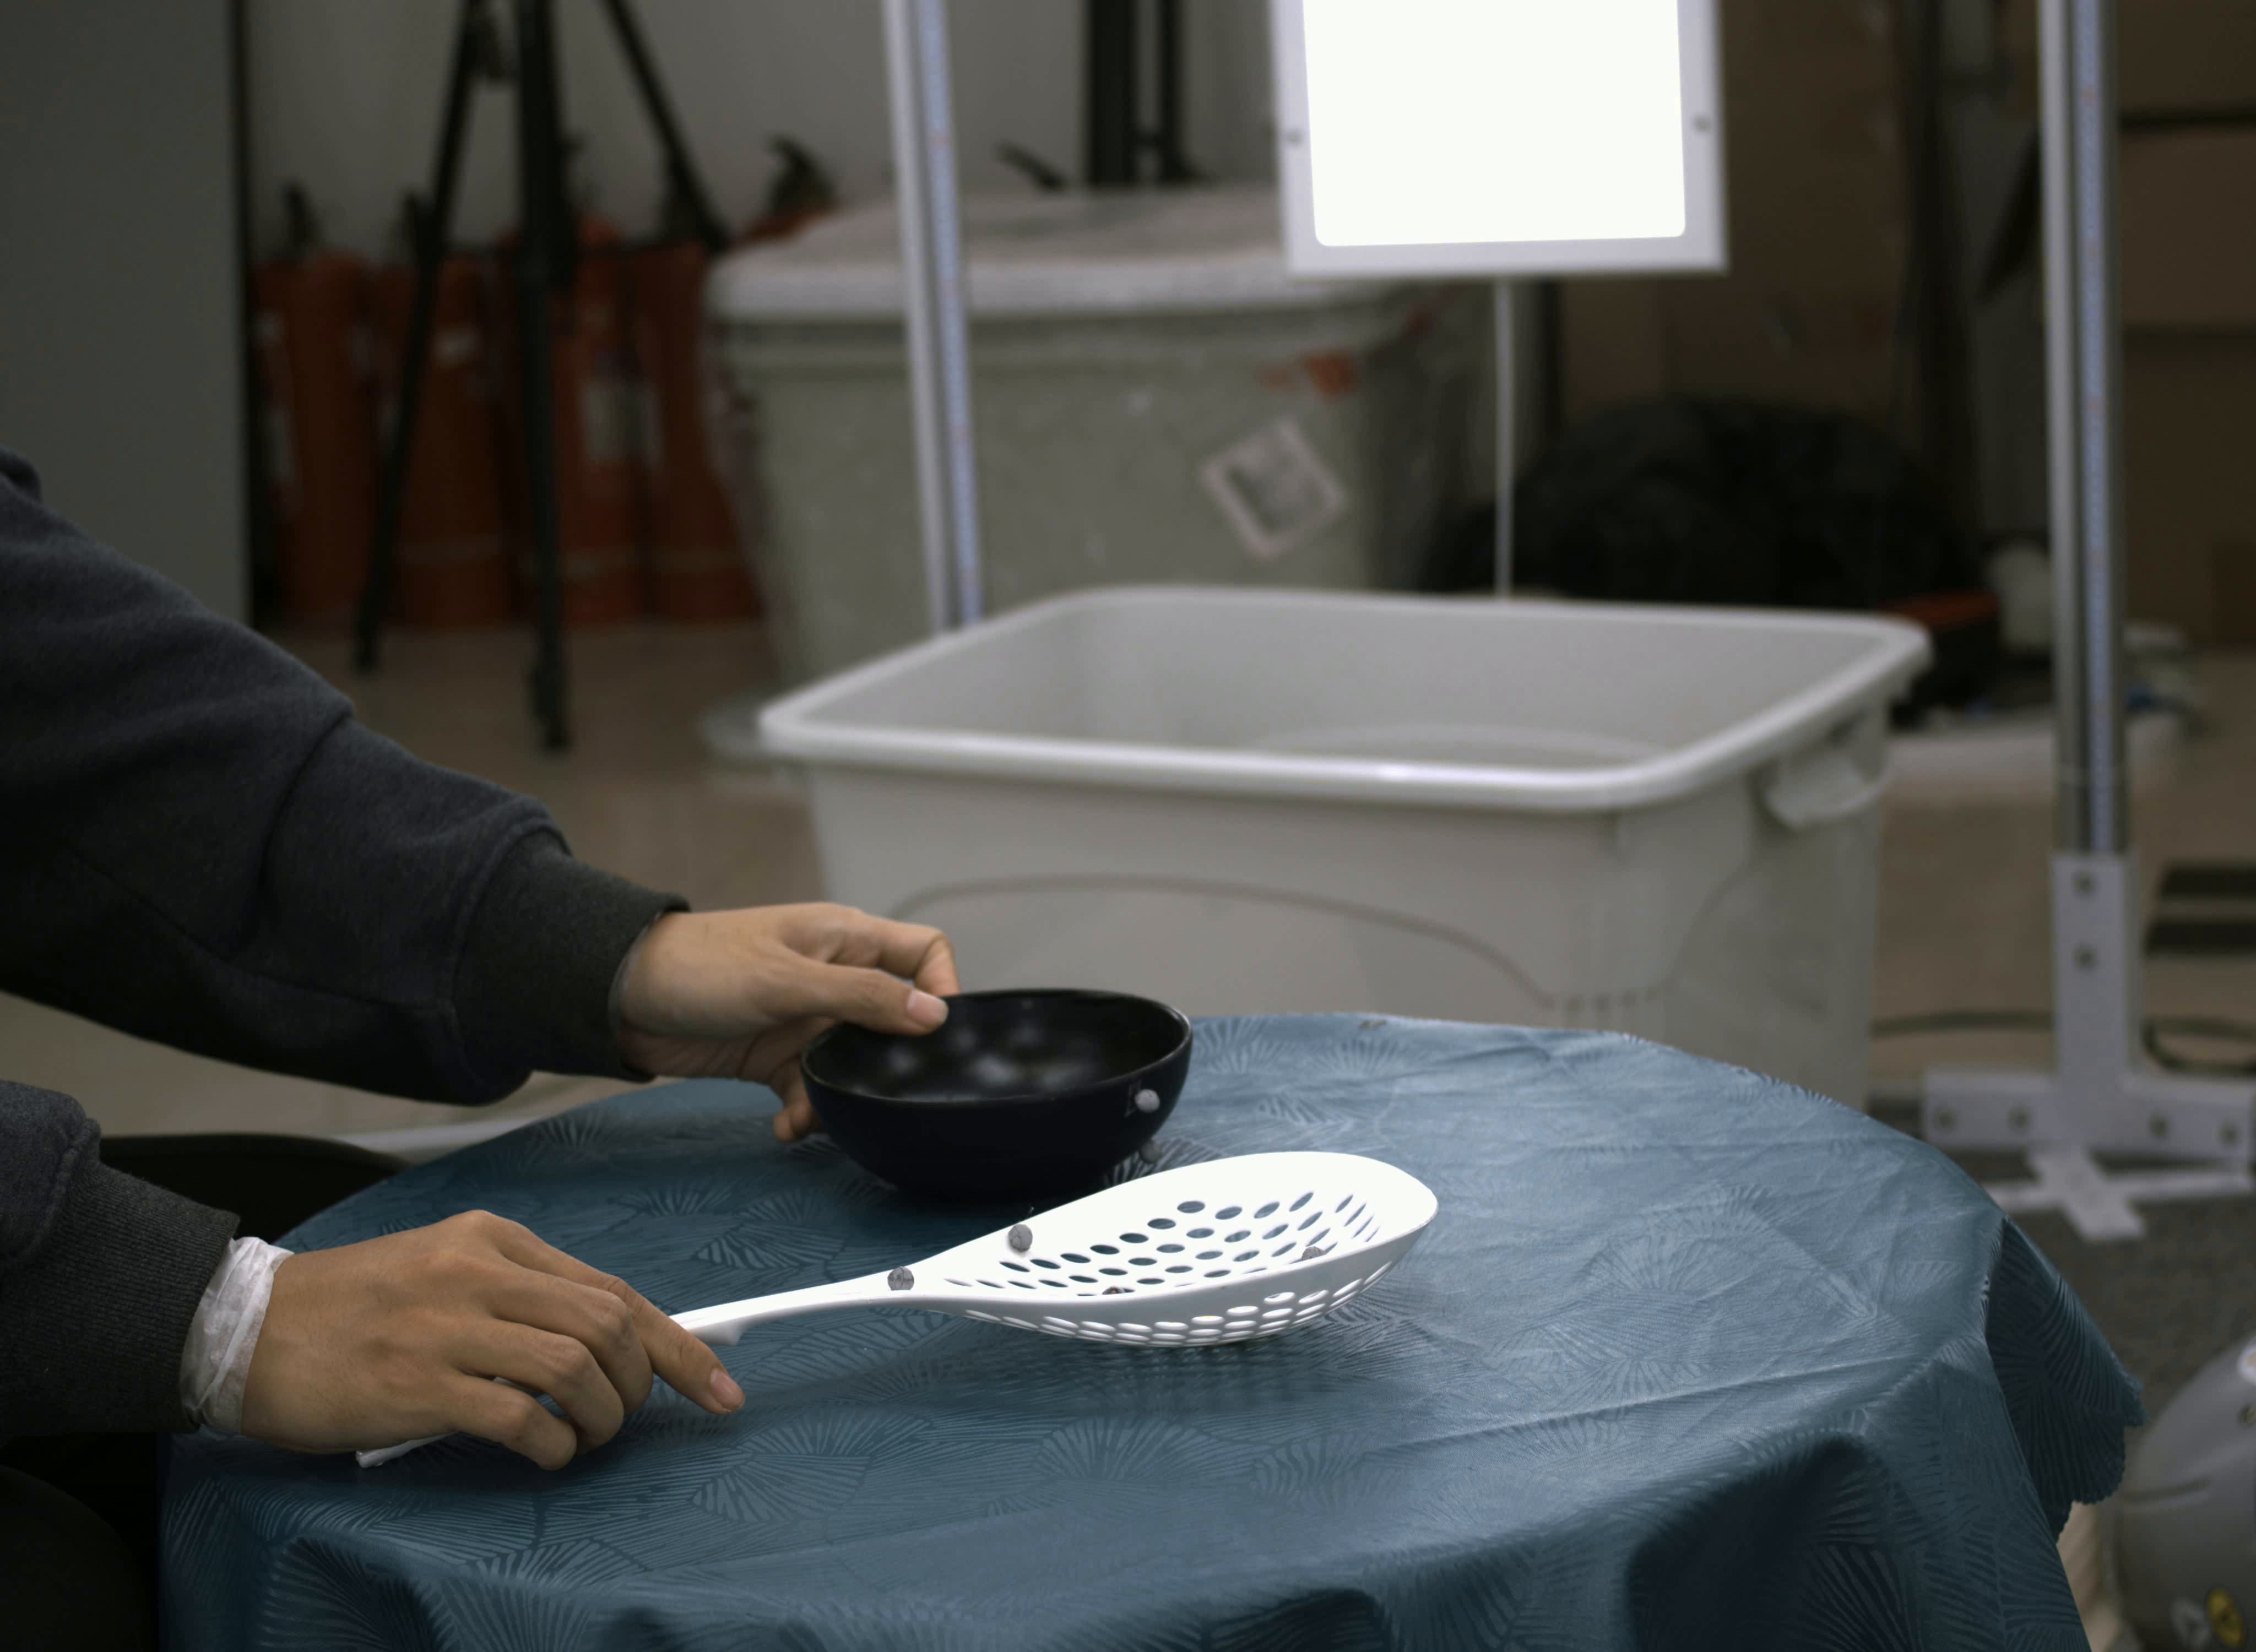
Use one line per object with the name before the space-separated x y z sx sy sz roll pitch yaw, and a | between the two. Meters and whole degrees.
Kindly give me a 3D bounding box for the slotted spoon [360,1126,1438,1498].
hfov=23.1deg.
slotted spoon | -0.071 0.155 1.724 0.344 0.050 0.138 -8 14 -11
